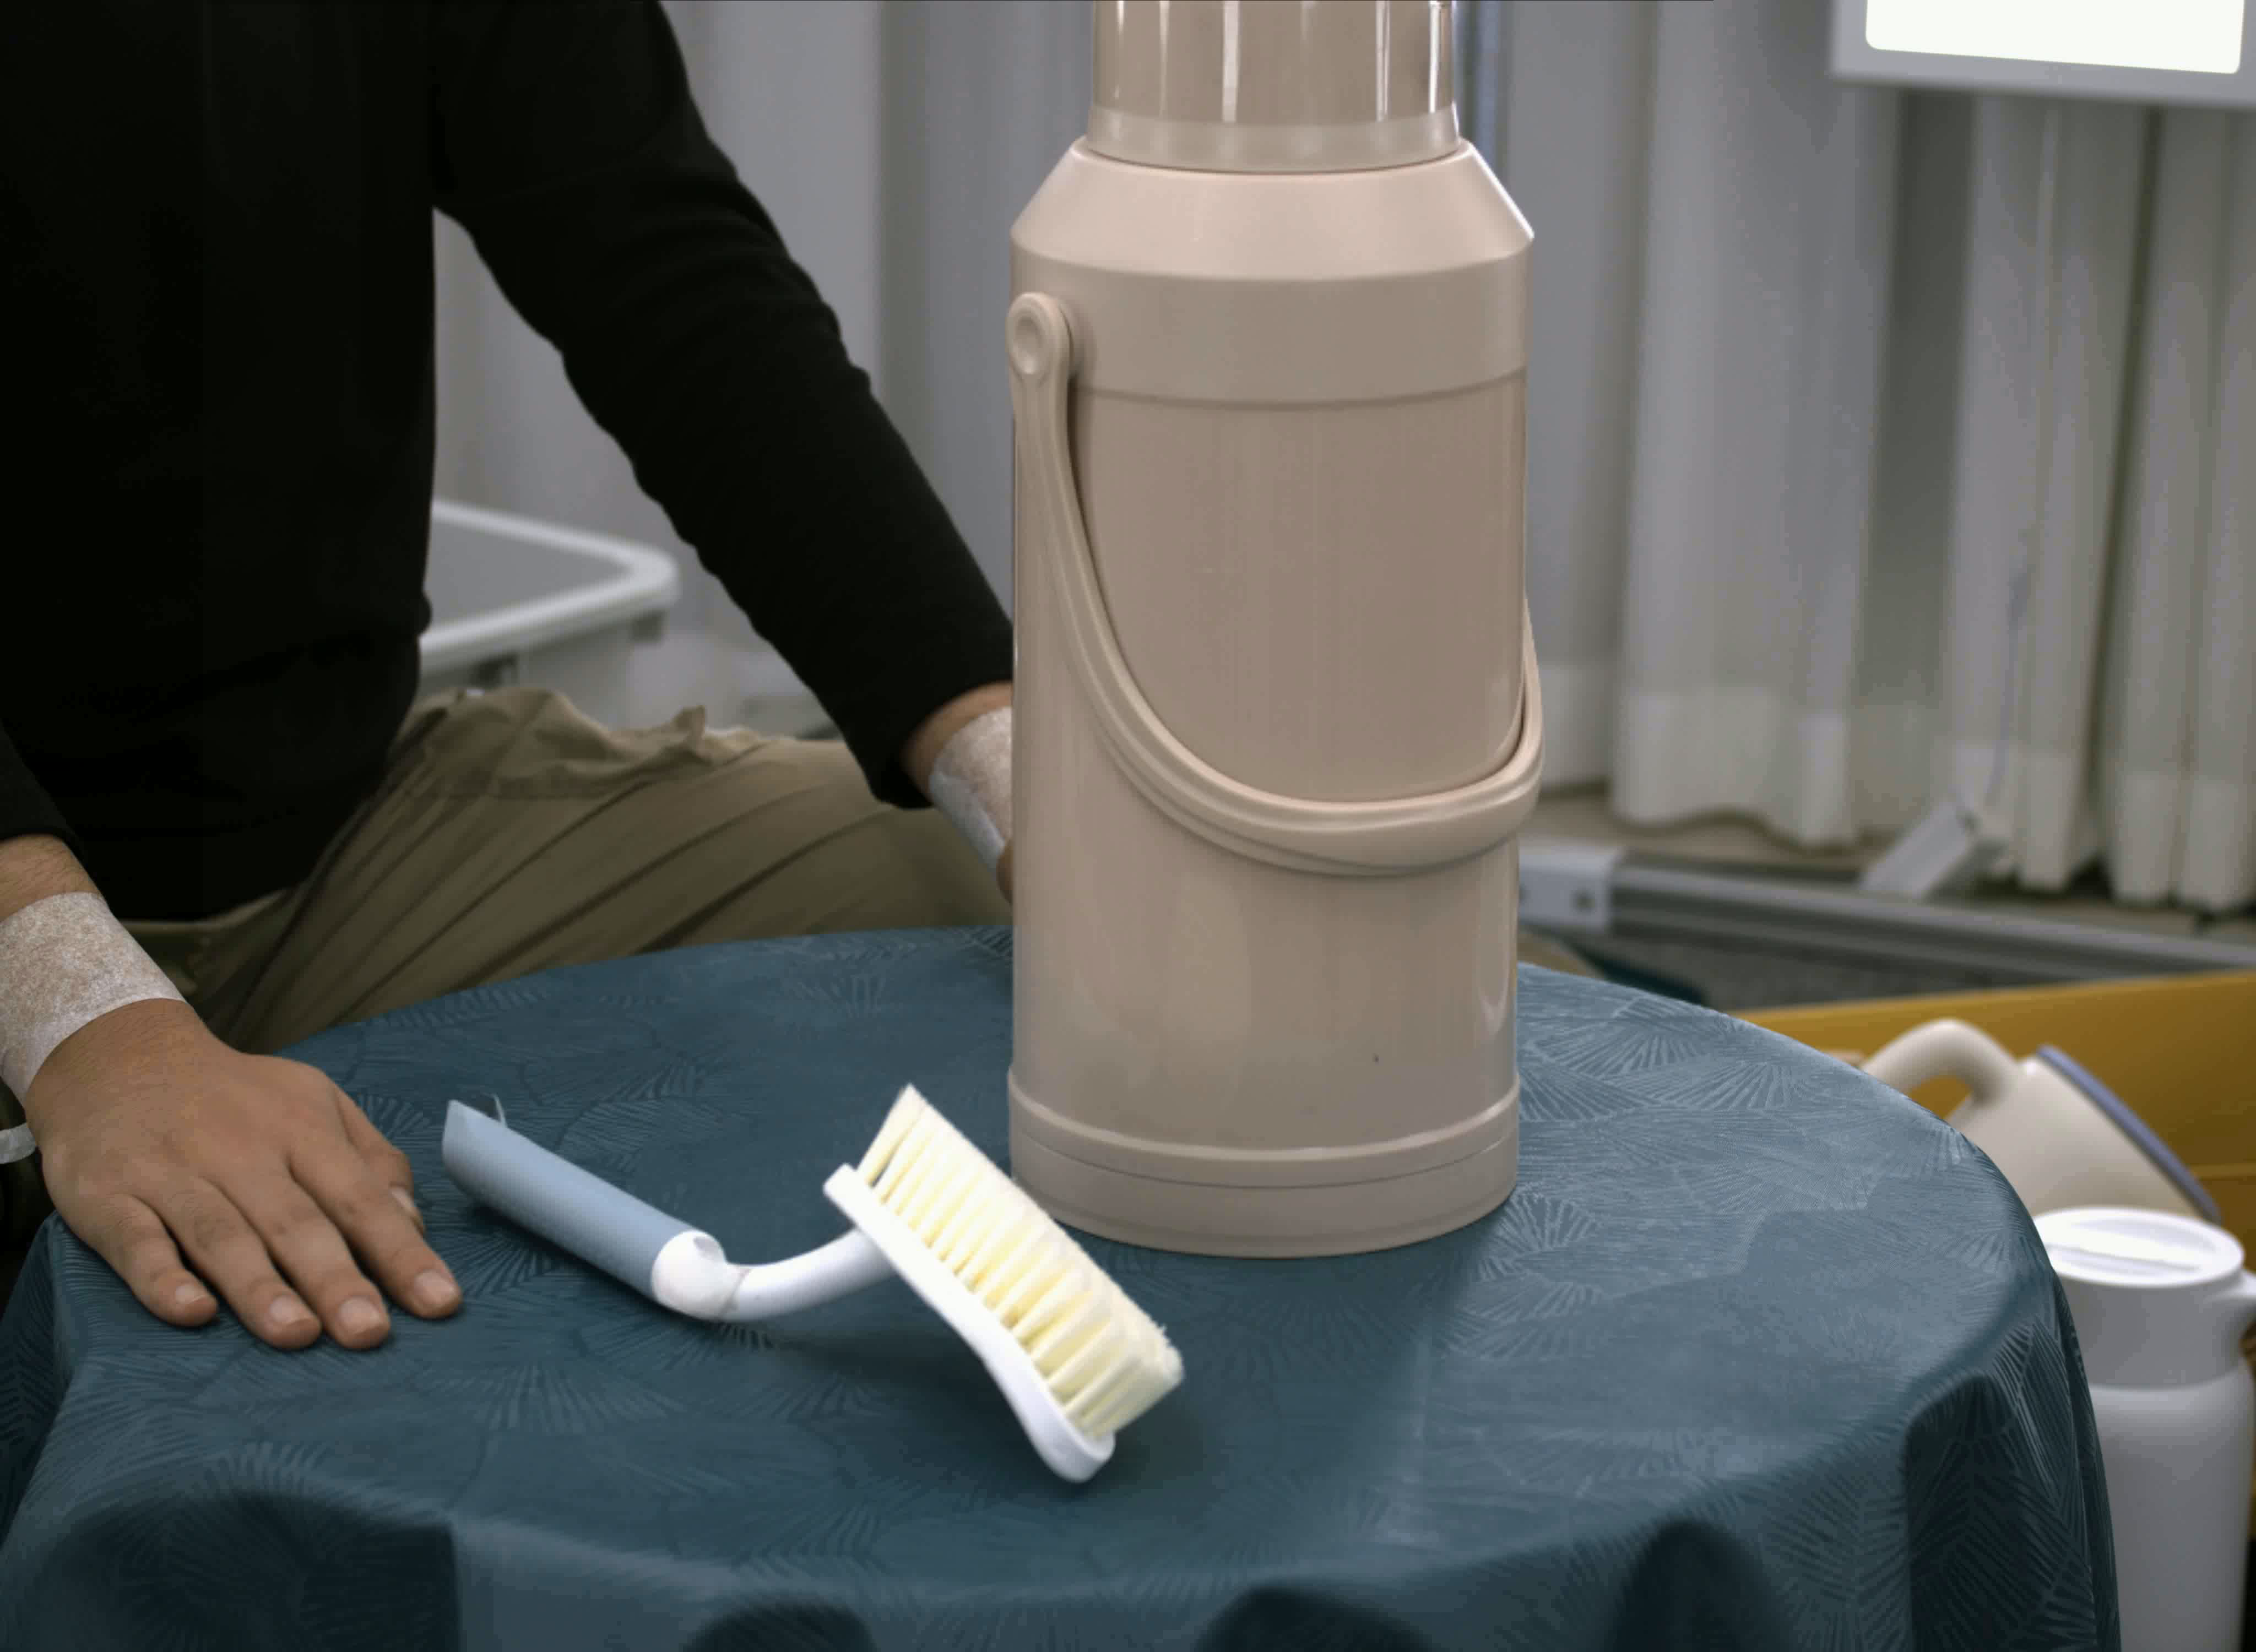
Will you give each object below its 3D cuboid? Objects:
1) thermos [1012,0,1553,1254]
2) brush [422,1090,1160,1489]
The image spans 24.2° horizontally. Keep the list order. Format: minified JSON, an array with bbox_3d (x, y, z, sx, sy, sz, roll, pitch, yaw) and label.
[{"bbox_3d":[0.038,-0.087,1.596,0.176,0.410,0.204,-13,21,-34],"label":"thermos"},{"bbox_3d":[-0.096,0.101,1.505,0.085,0.084,0.321,-18,25,-34],"label":"brush"}]
